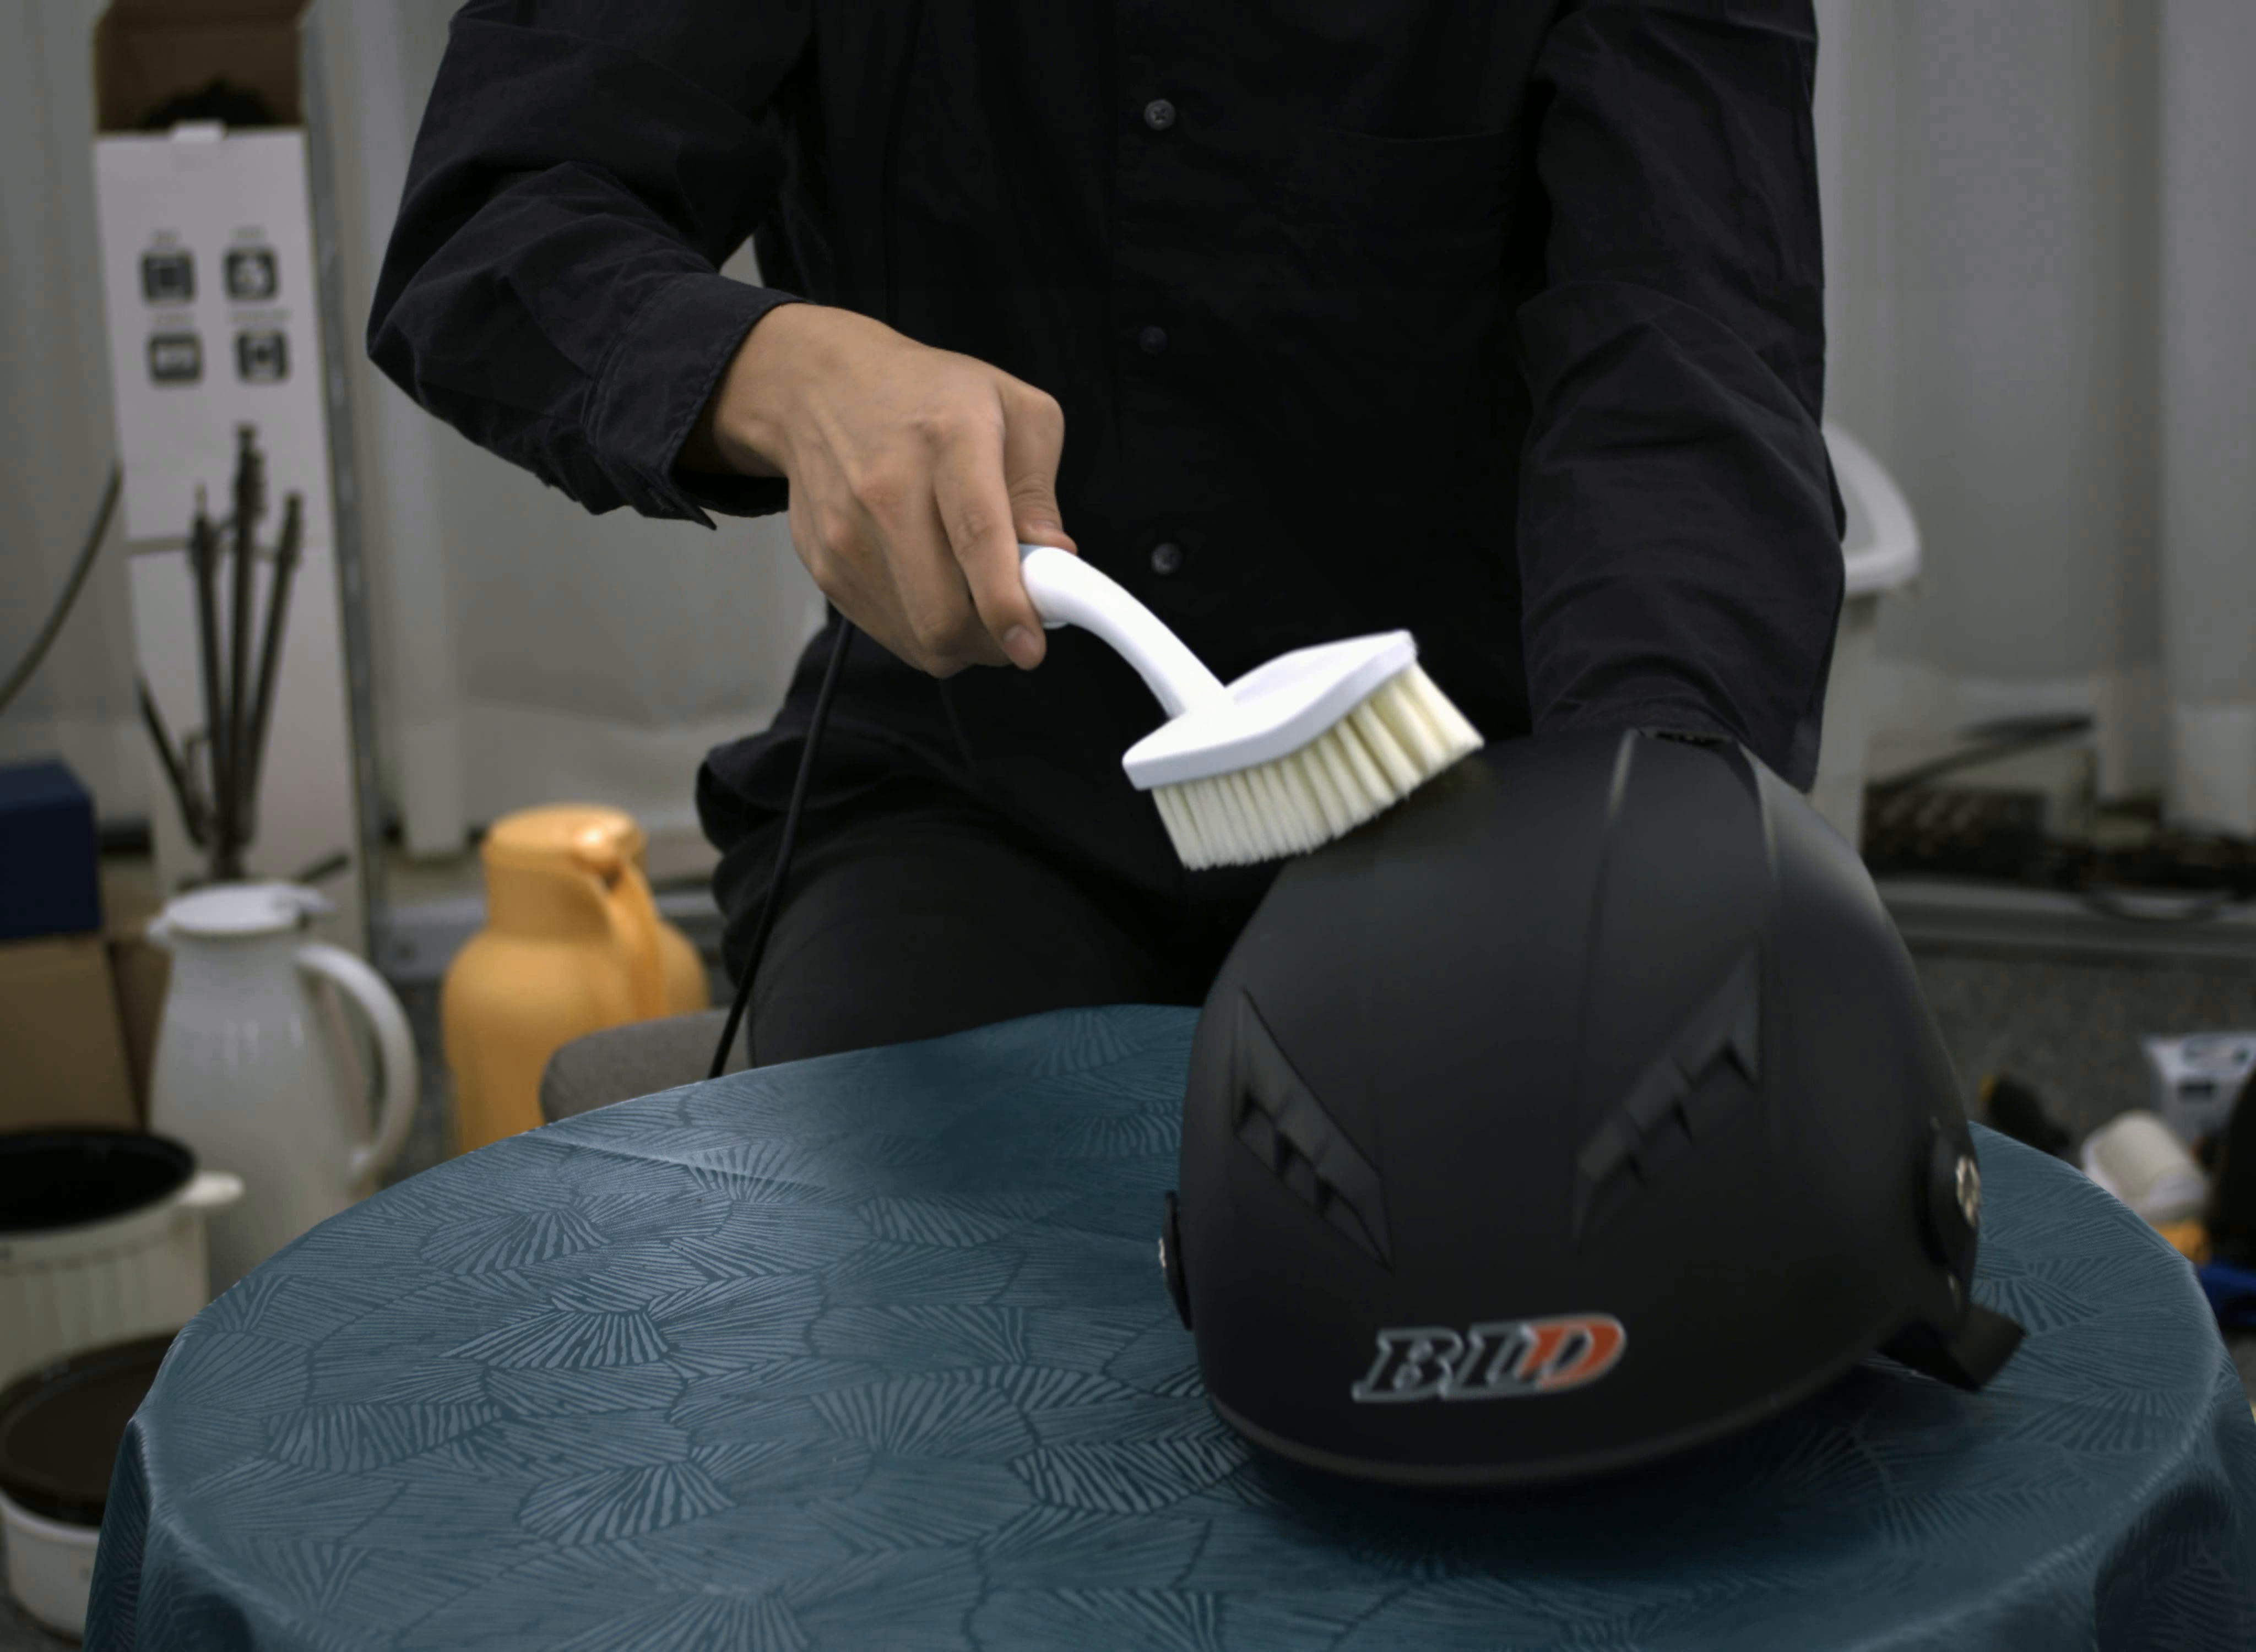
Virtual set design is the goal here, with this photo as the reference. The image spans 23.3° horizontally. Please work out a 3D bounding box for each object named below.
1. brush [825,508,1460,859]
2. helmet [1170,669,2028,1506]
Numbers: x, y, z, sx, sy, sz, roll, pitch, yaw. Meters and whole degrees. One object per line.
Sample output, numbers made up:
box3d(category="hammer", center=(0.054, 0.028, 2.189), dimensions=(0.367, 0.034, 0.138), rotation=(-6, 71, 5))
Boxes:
box3d(category="brush", center=(0.004, -0.038, 1.641), dimensions=(0.082, 0.085, 0.327), rotation=(9, 3, -31))
box3d(category="helmet", center=(0.121, 0.062, 1.515), dimensions=(0.246, 0.171, 0.279), rotation=(-6, 22, 17))
